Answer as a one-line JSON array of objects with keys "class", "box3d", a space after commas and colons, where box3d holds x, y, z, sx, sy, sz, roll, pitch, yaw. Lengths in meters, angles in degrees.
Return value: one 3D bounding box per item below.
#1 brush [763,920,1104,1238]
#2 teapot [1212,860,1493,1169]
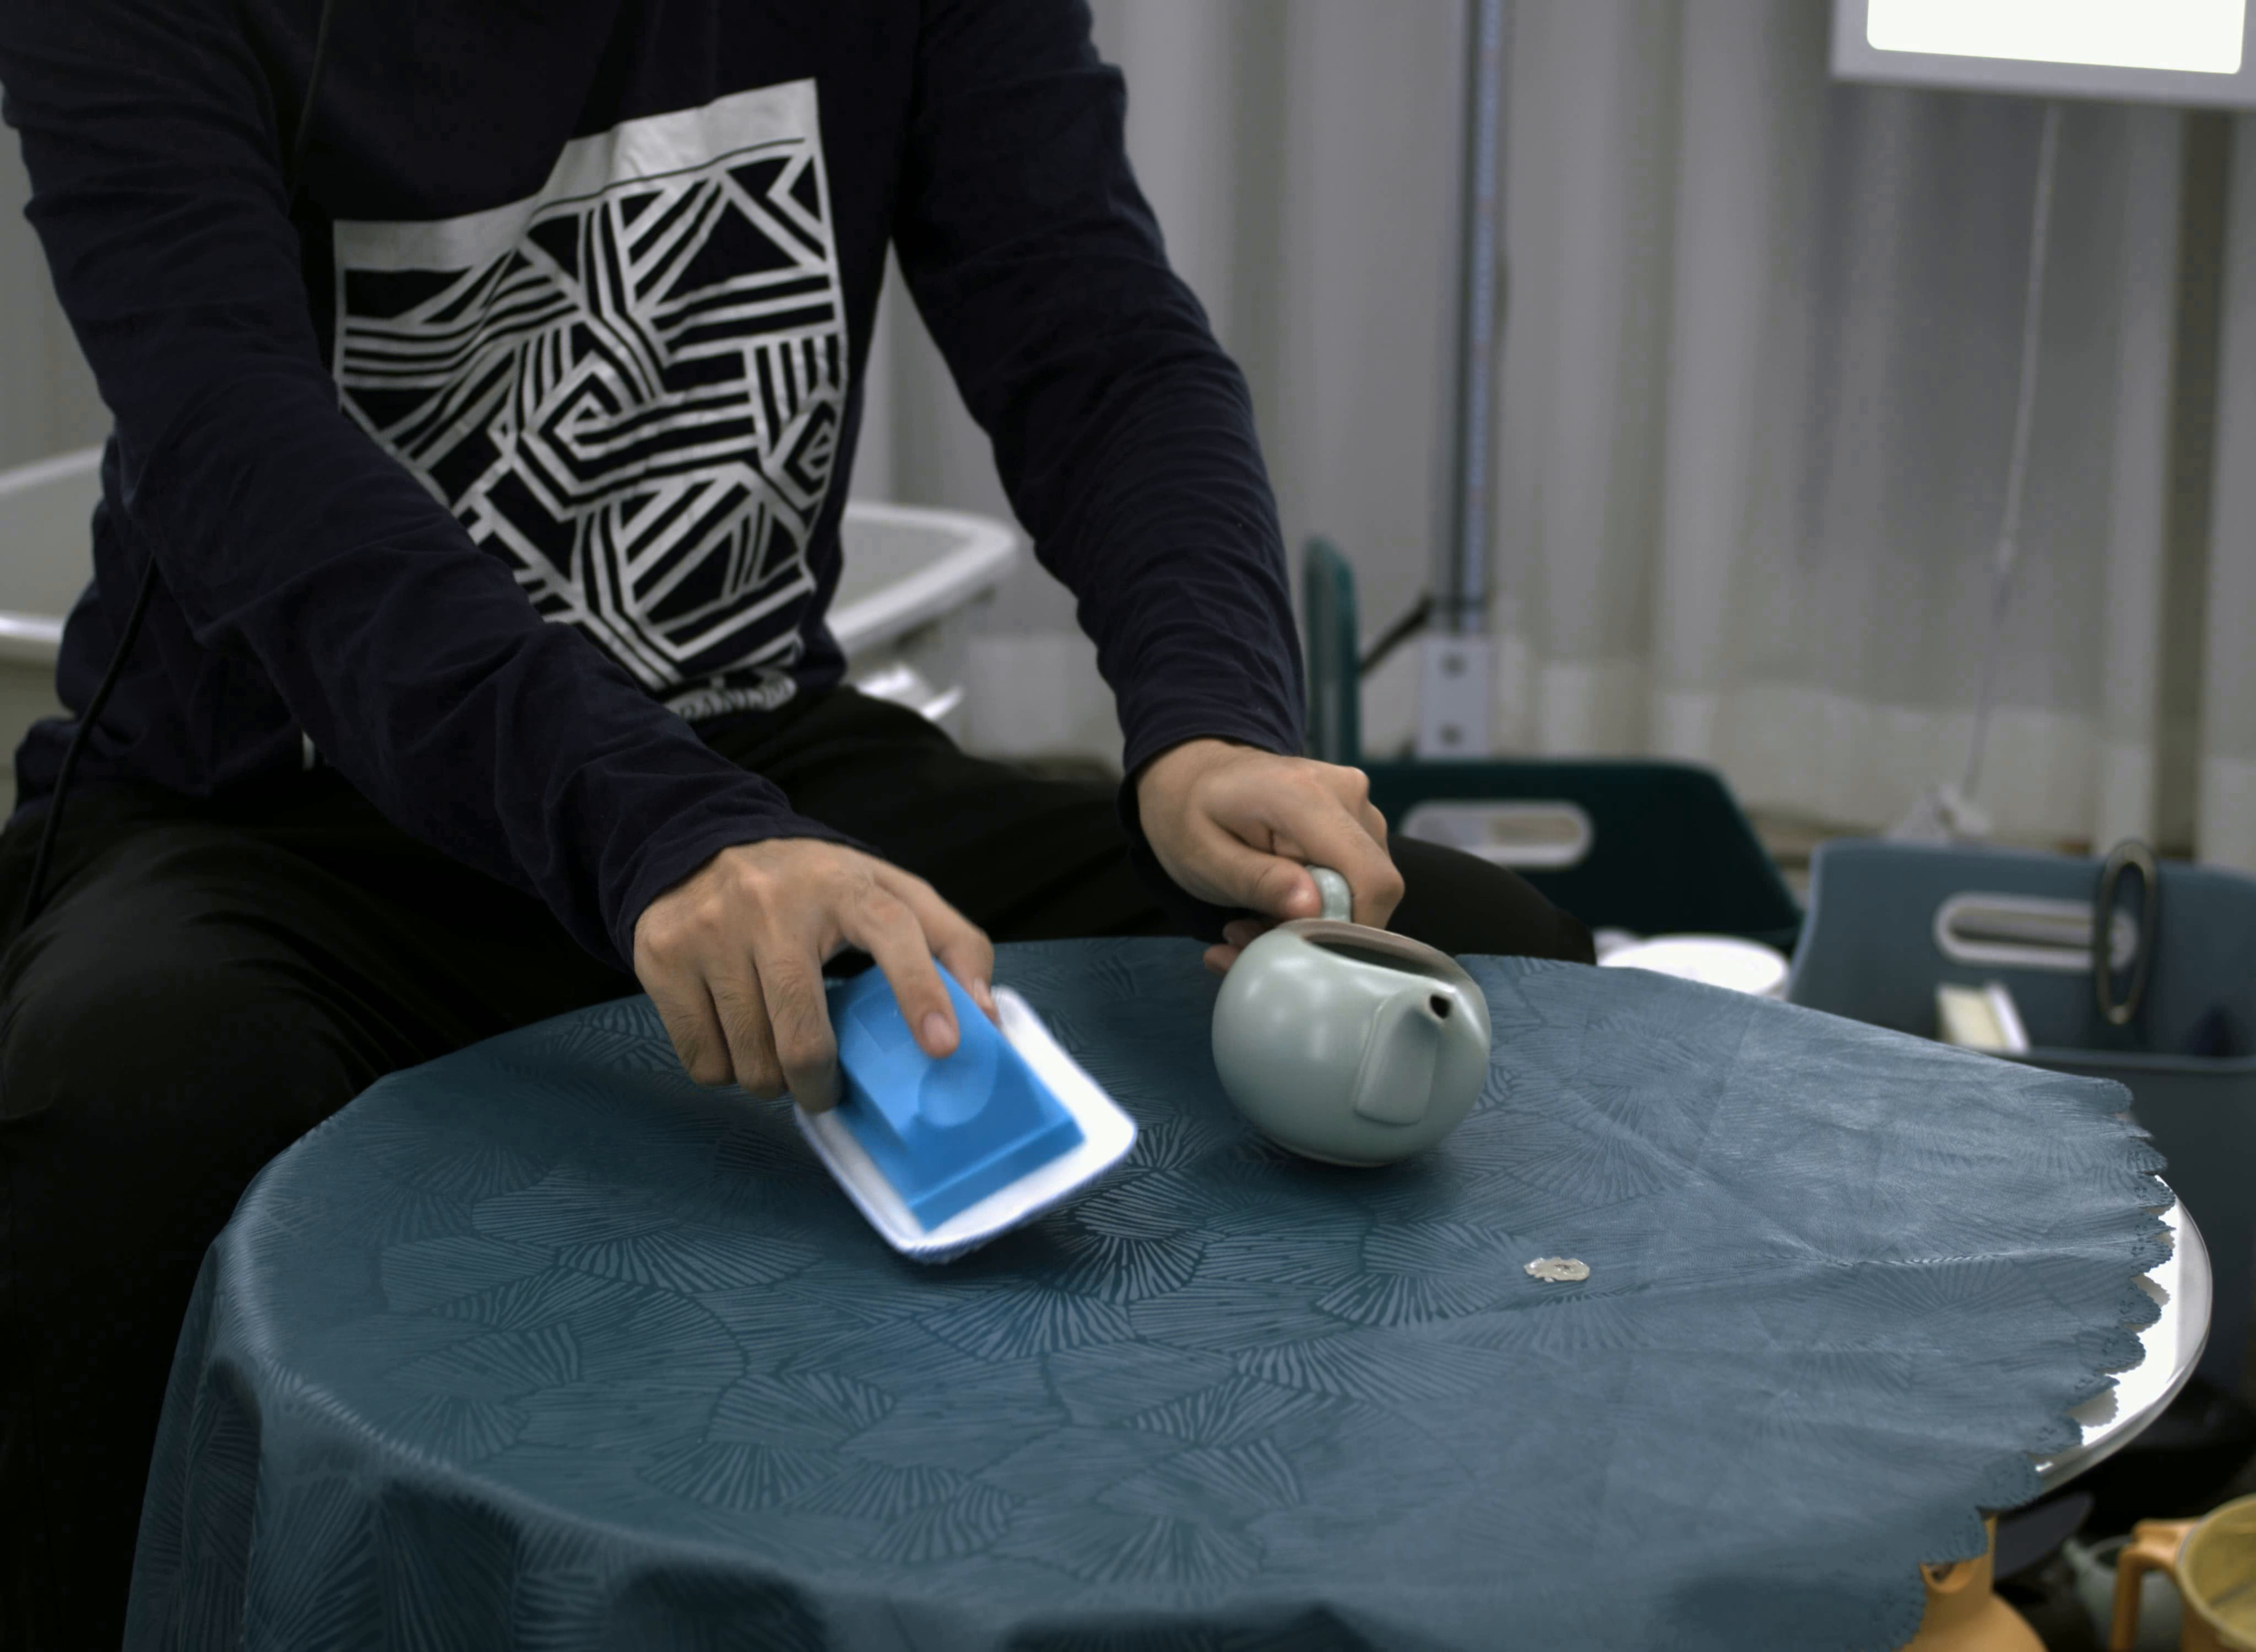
[{"class": "brush", "box3d": [-0.063, 0.072, 1.600, 0.084, 0.056, 0.142, -23, 27, -9]}, {"class": "teapot", "box3d": [0.070, 0.066, 1.648, 0.088, 0.075, 0.142, 8, 17, -15]}]
